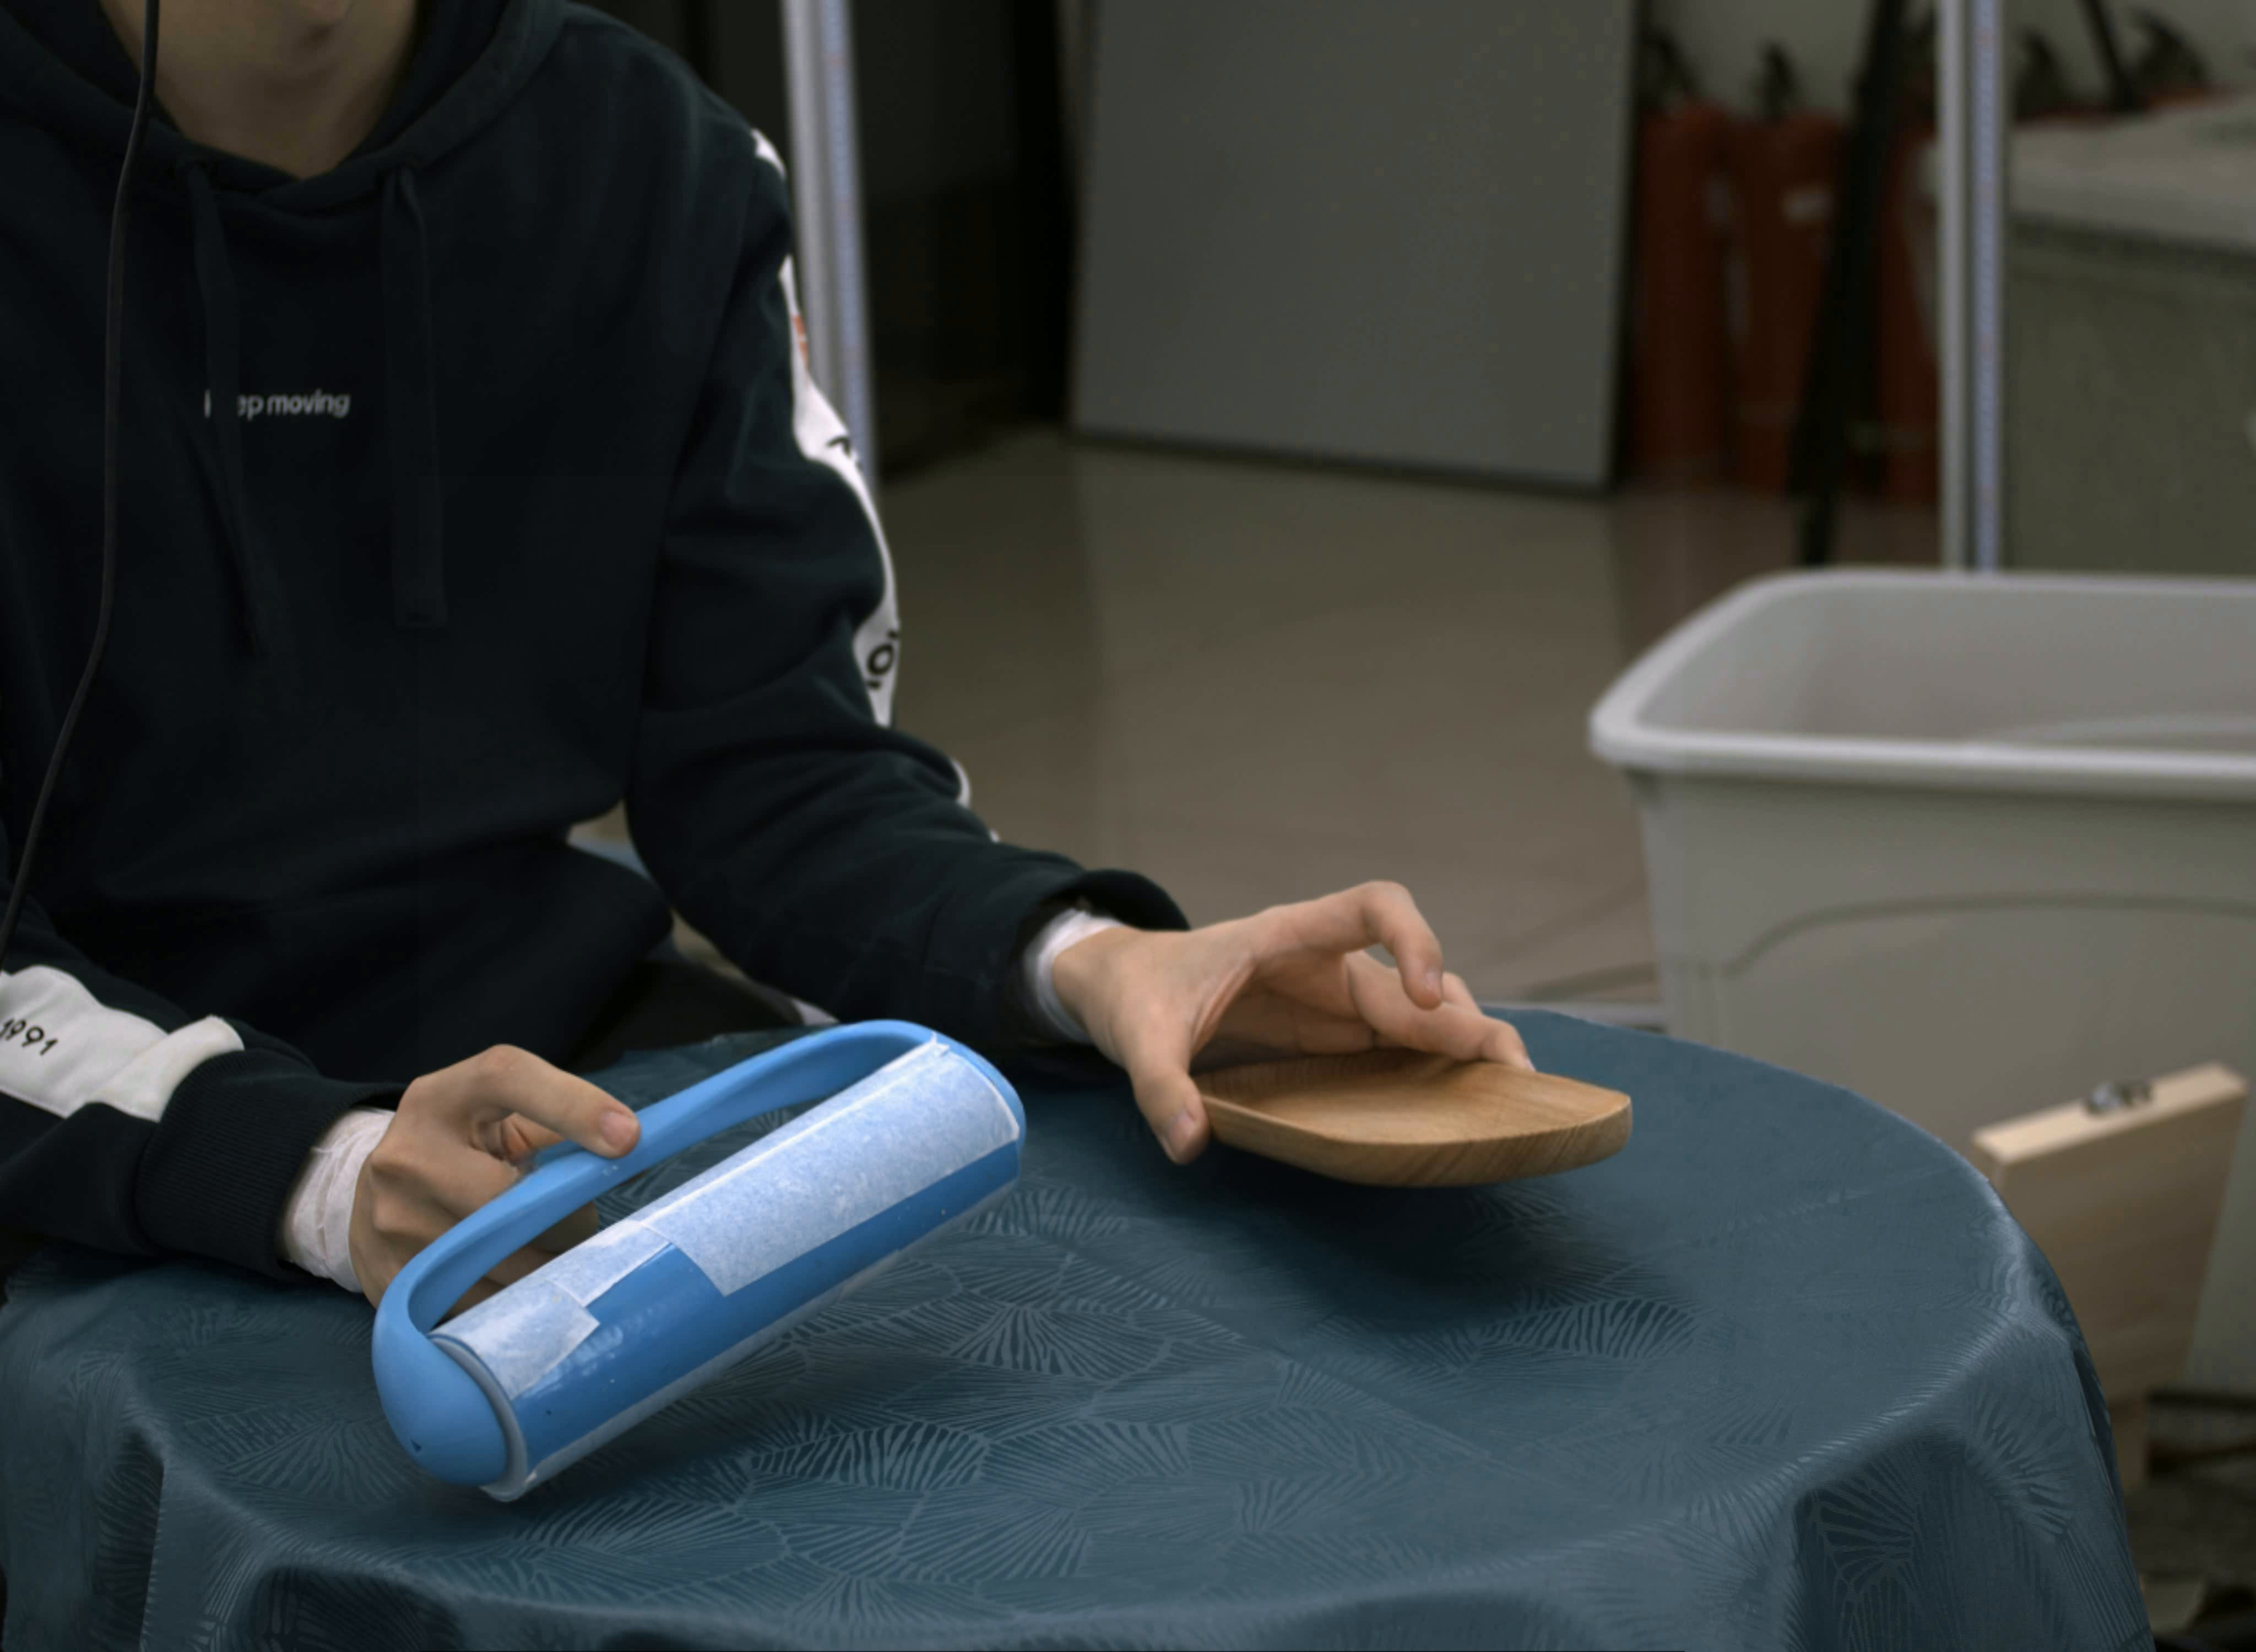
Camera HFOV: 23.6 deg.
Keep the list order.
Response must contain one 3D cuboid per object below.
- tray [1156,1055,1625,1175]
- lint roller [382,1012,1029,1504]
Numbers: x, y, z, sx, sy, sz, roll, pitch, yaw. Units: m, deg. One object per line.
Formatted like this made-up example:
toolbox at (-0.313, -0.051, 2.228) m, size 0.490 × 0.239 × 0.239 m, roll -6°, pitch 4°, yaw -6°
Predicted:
tray at (0.082, 0.092, 1.723) m, size 0.099 × 0.020 × 0.233 m, roll -6°, pitch 2°, yaw -19°
lint roller at (-0.155, 0.124, 1.616) m, size 0.225 × 0.068 × 0.182 m, roll -34°, pitch 22°, yaw -36°
